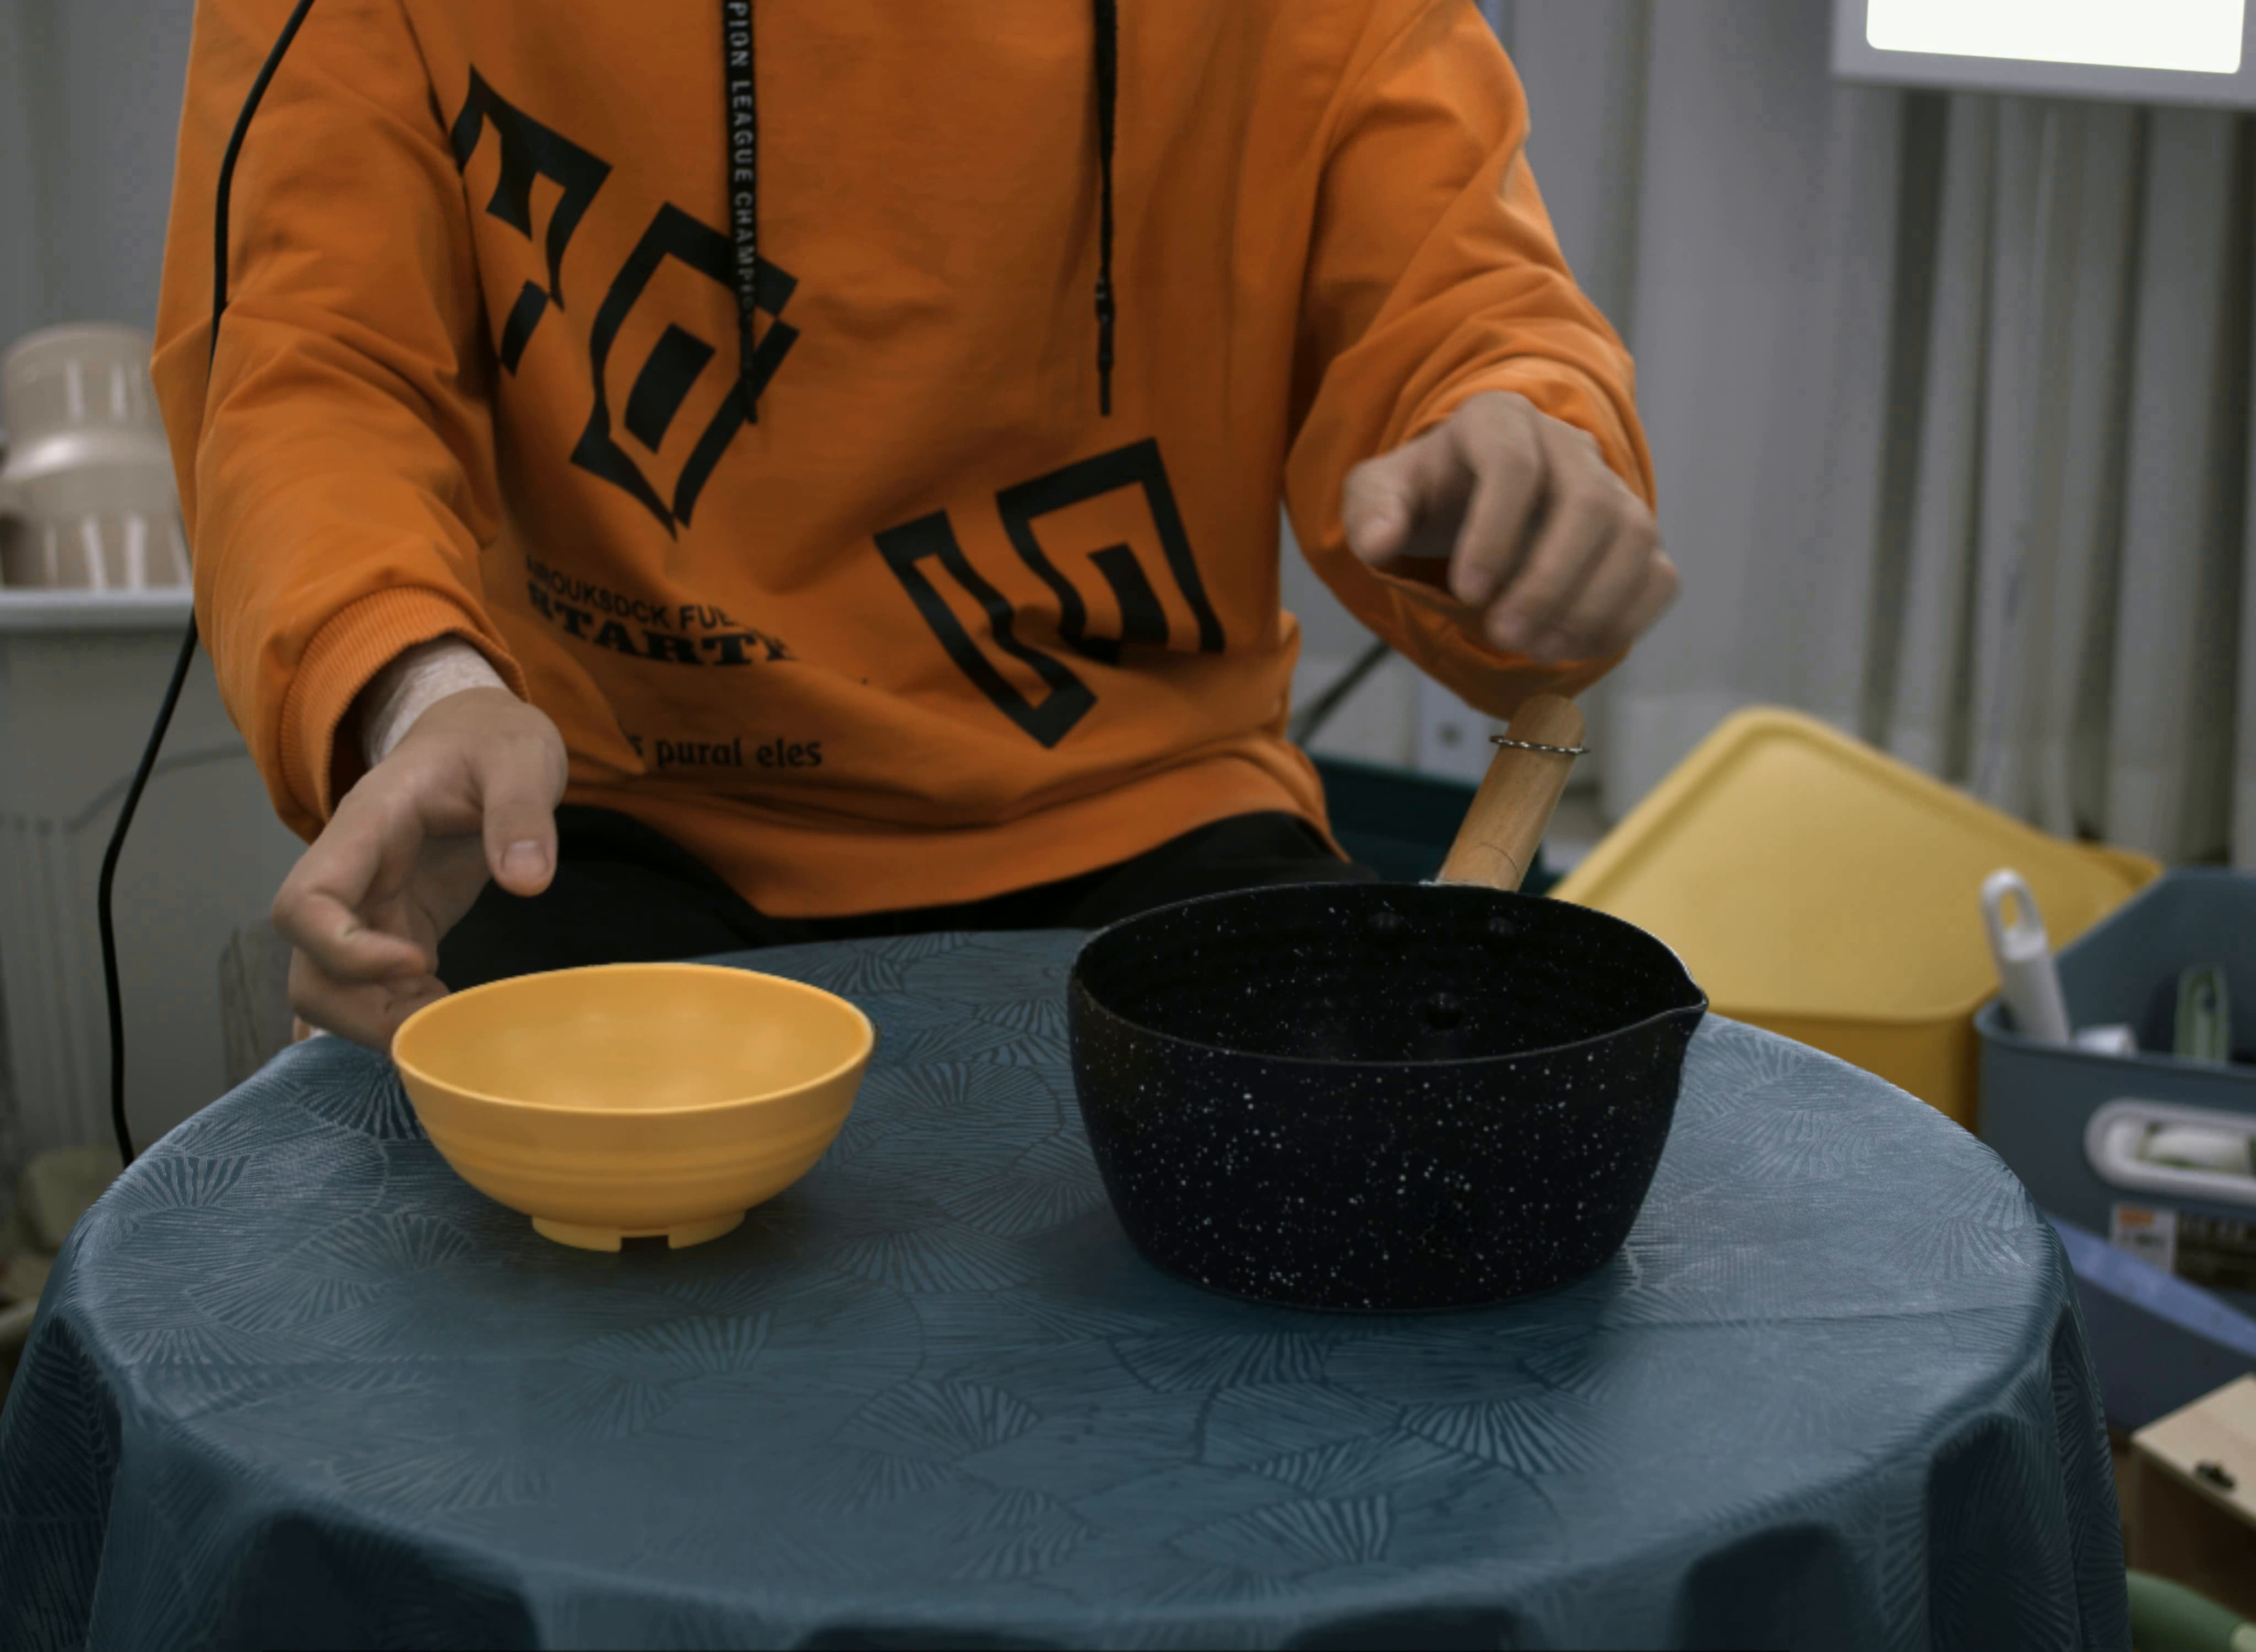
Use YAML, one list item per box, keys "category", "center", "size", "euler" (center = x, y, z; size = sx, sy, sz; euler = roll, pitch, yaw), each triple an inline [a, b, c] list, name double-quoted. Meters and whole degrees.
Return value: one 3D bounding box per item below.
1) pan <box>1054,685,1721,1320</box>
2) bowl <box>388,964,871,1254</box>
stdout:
- category: "pan"
  center: [0.096, 0.050, 1.647]
  size: [0.206, 0.109, 0.342]
  euler: [3, 17, 15]
- category: "bowl"
  center: [-0.150, 0.090, 1.589]
  size: [0.145, 0.060, 0.144]
  euler: [1, 15, 0]
